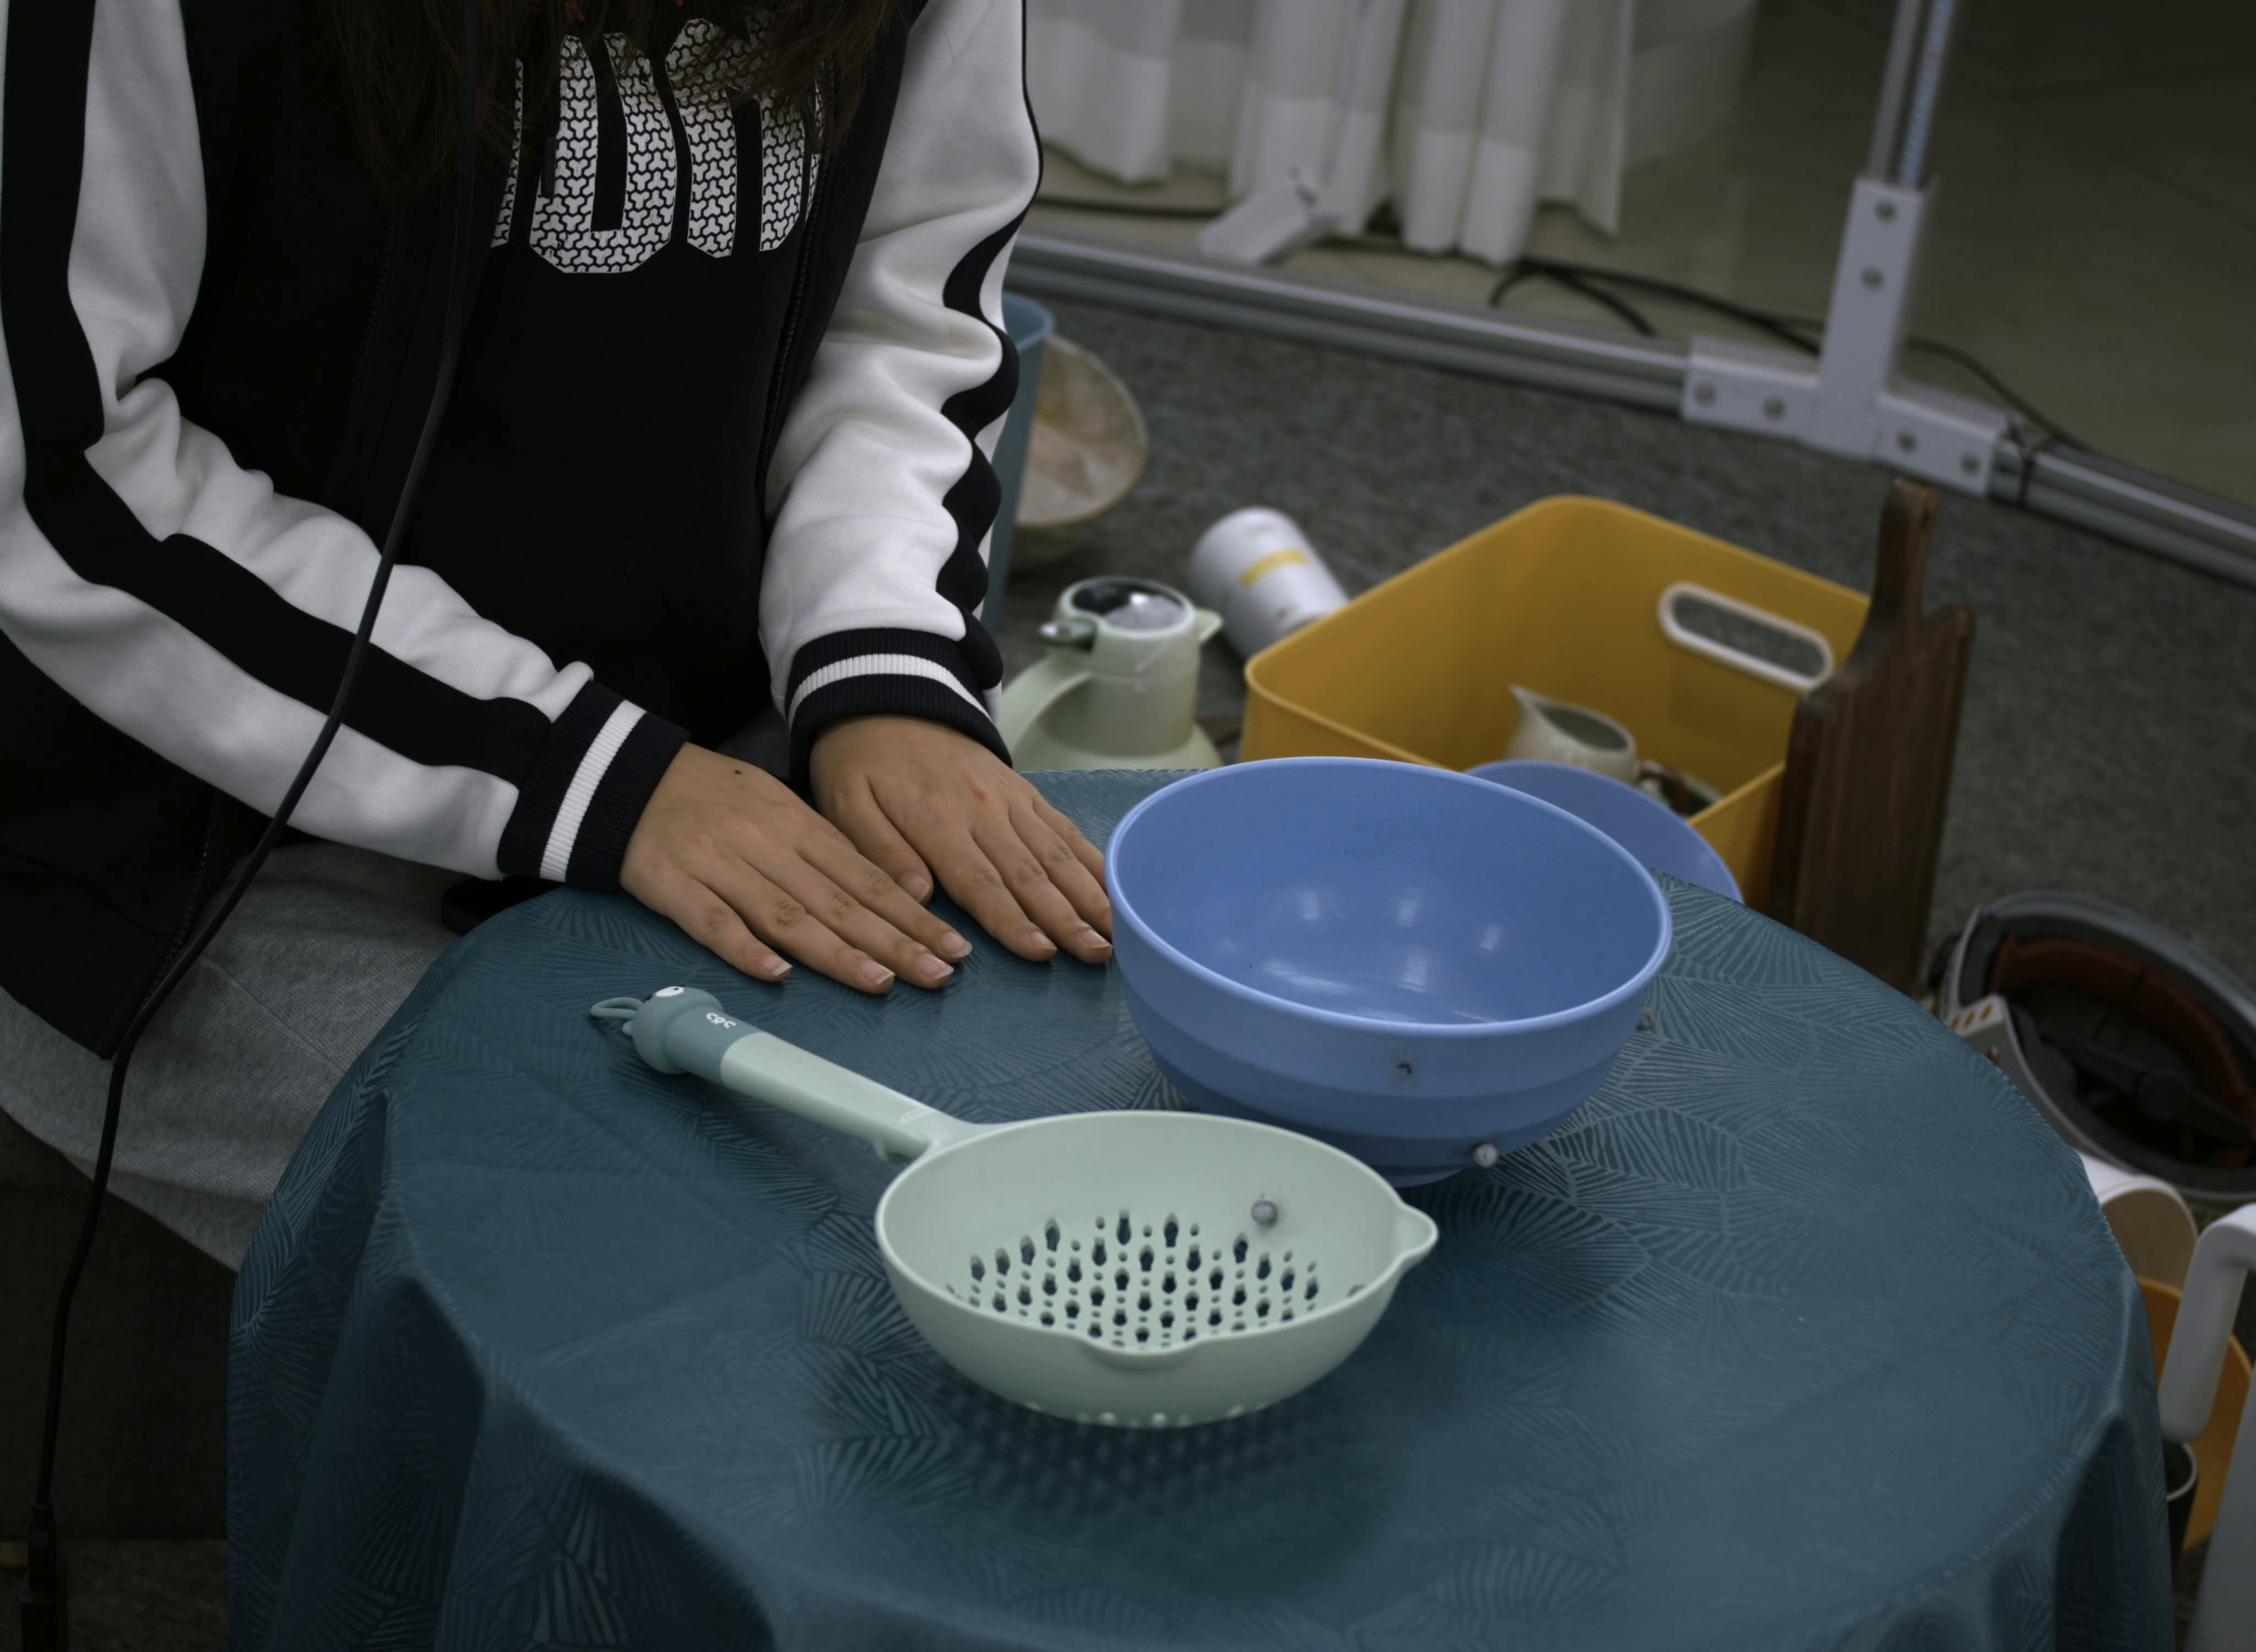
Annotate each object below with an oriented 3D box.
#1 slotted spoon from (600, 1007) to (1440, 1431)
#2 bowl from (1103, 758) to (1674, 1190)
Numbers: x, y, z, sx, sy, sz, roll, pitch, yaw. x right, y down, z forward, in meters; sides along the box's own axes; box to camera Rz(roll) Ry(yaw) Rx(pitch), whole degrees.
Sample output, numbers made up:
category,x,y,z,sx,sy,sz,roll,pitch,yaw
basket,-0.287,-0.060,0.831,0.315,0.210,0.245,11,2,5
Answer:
category,x,y,z,sx,sy,sz,roll,pitch,yaw
slotted spoon,-0.061,0.112,1.747,0.168,0.075,0.362,-16,33,-39
bowl,0.084,0.062,1.838,0.196,0.095,0.197,5,27,-3
